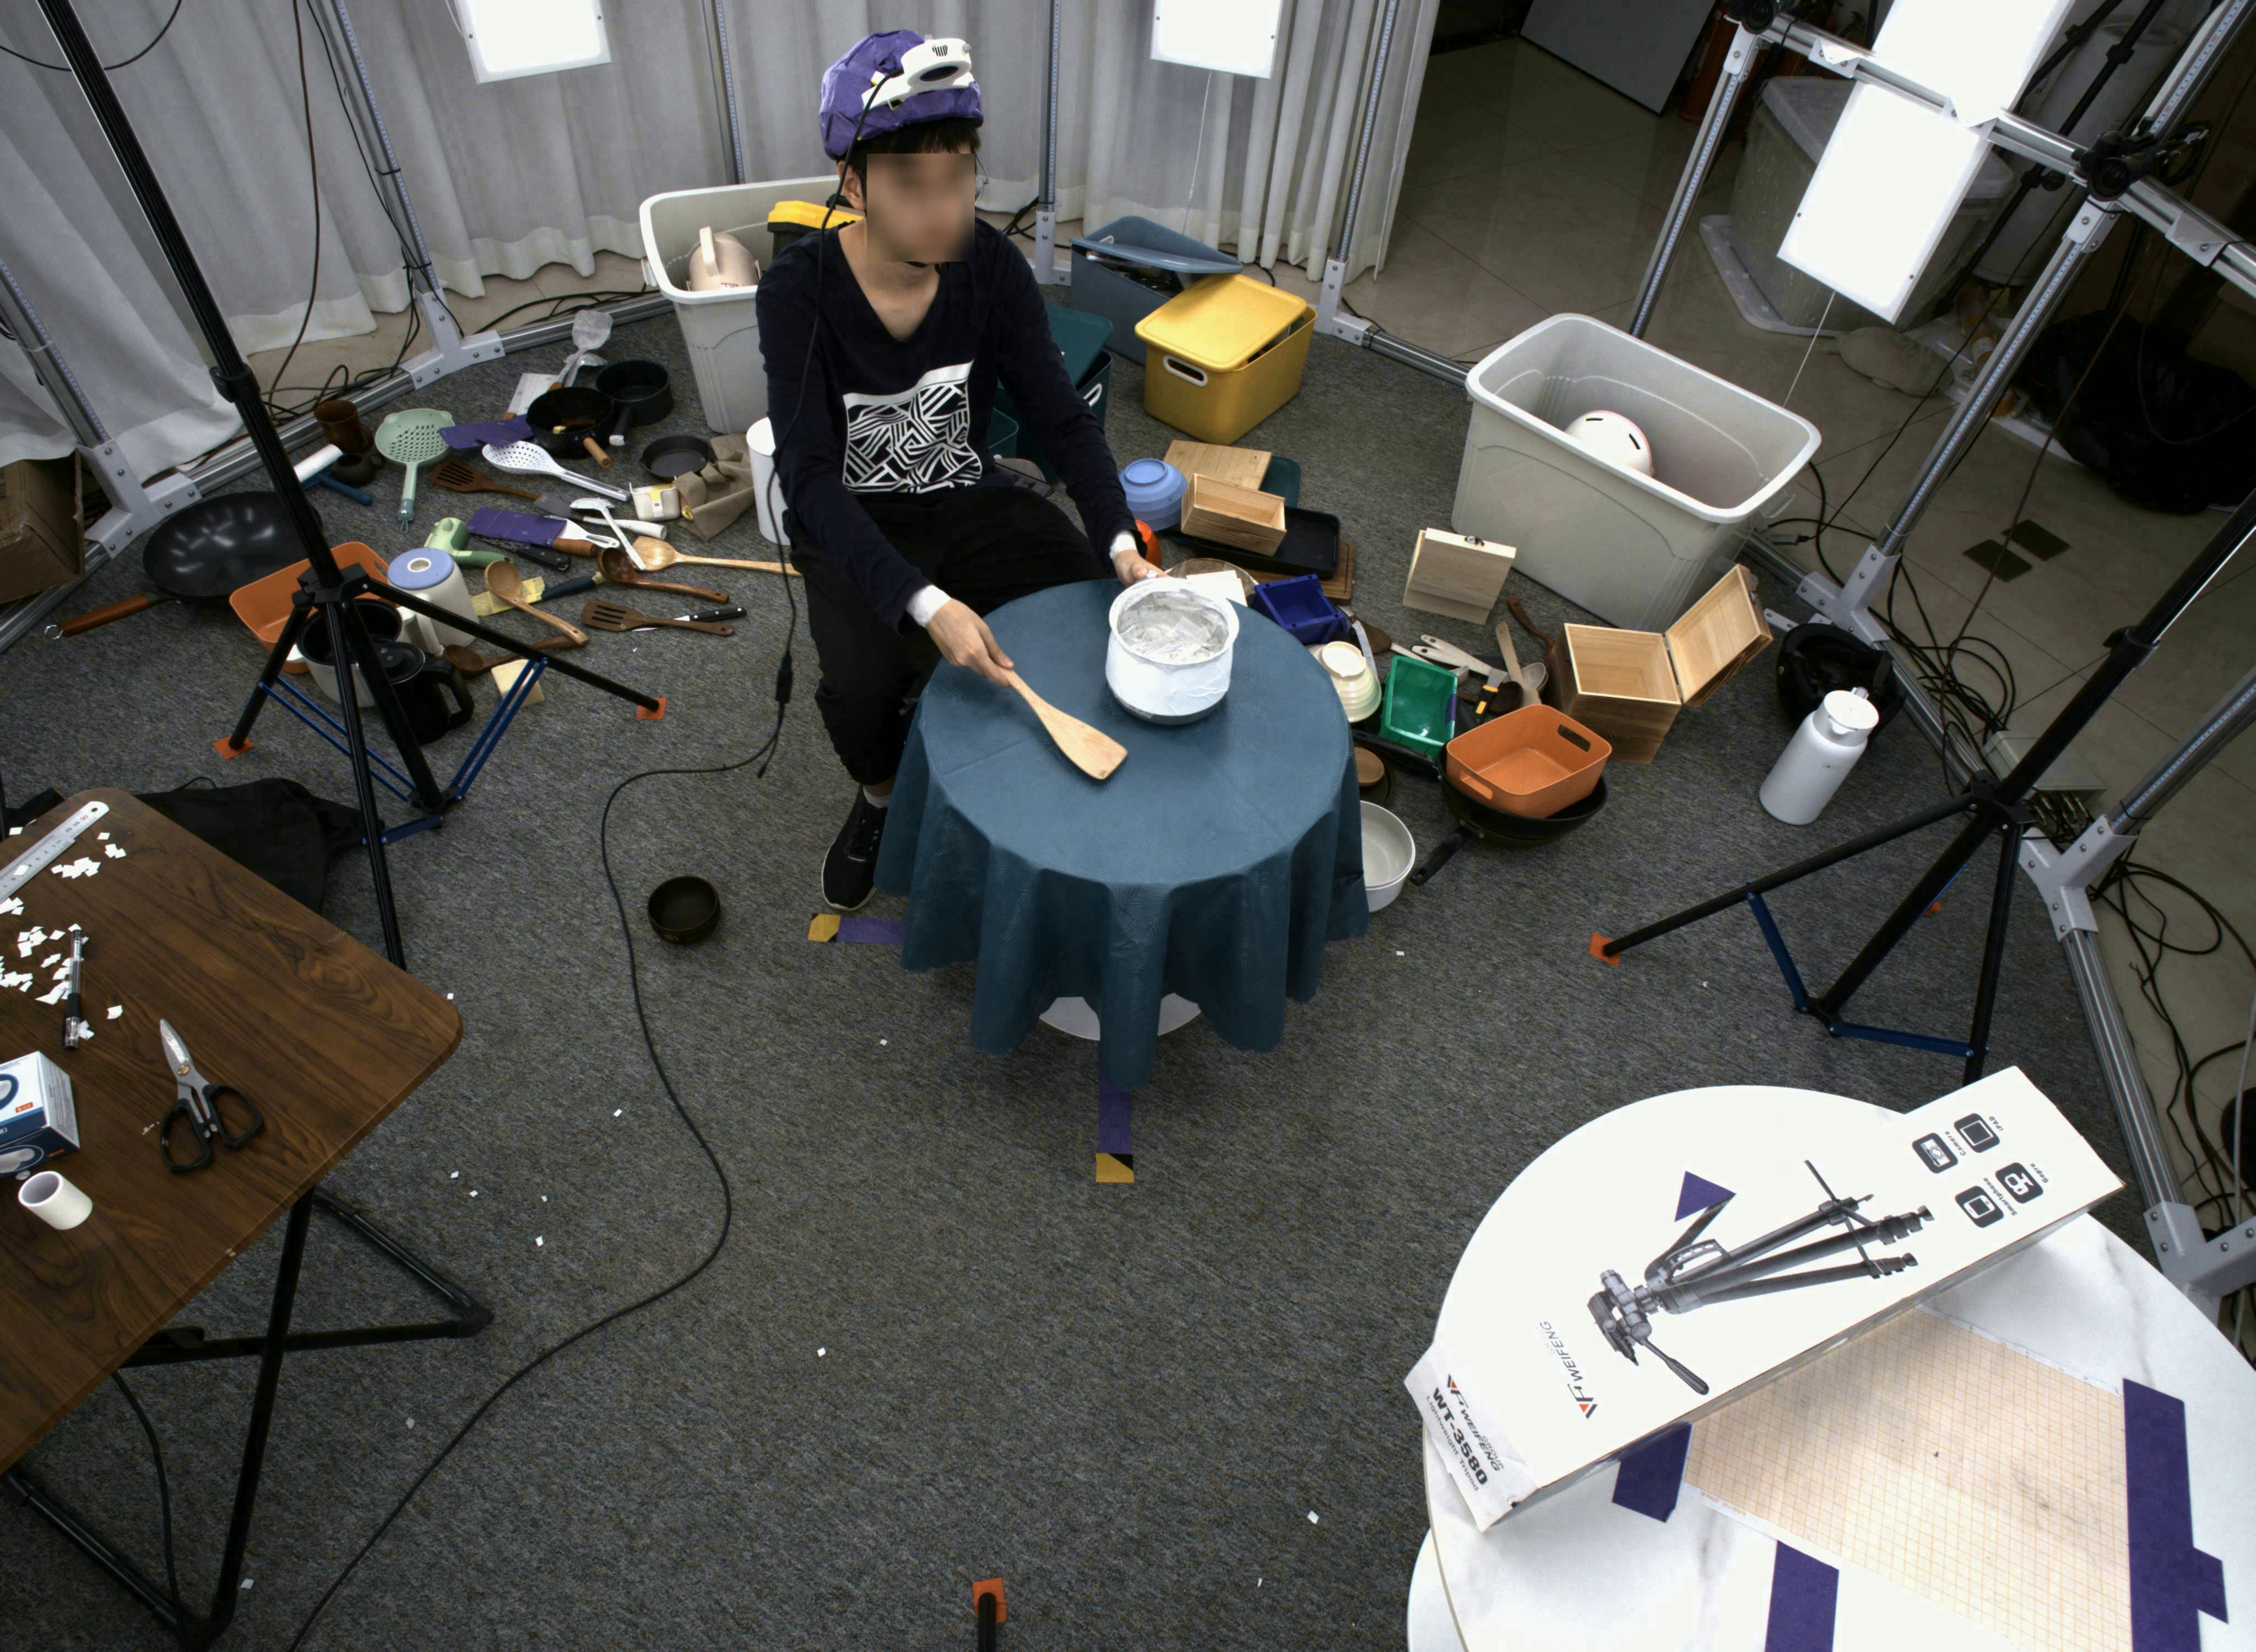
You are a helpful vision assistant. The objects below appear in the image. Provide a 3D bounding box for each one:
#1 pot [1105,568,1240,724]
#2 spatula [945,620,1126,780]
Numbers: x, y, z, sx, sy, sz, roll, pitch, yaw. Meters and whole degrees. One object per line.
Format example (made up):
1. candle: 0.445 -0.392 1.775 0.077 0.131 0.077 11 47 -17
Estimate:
1. pot: 0.049 -0.262 1.806 0.178 0.133 0.239 -12 53 -15
2. spatula: -0.133 -0.181 1.767 0.331 0.016 0.081 43 48 15
